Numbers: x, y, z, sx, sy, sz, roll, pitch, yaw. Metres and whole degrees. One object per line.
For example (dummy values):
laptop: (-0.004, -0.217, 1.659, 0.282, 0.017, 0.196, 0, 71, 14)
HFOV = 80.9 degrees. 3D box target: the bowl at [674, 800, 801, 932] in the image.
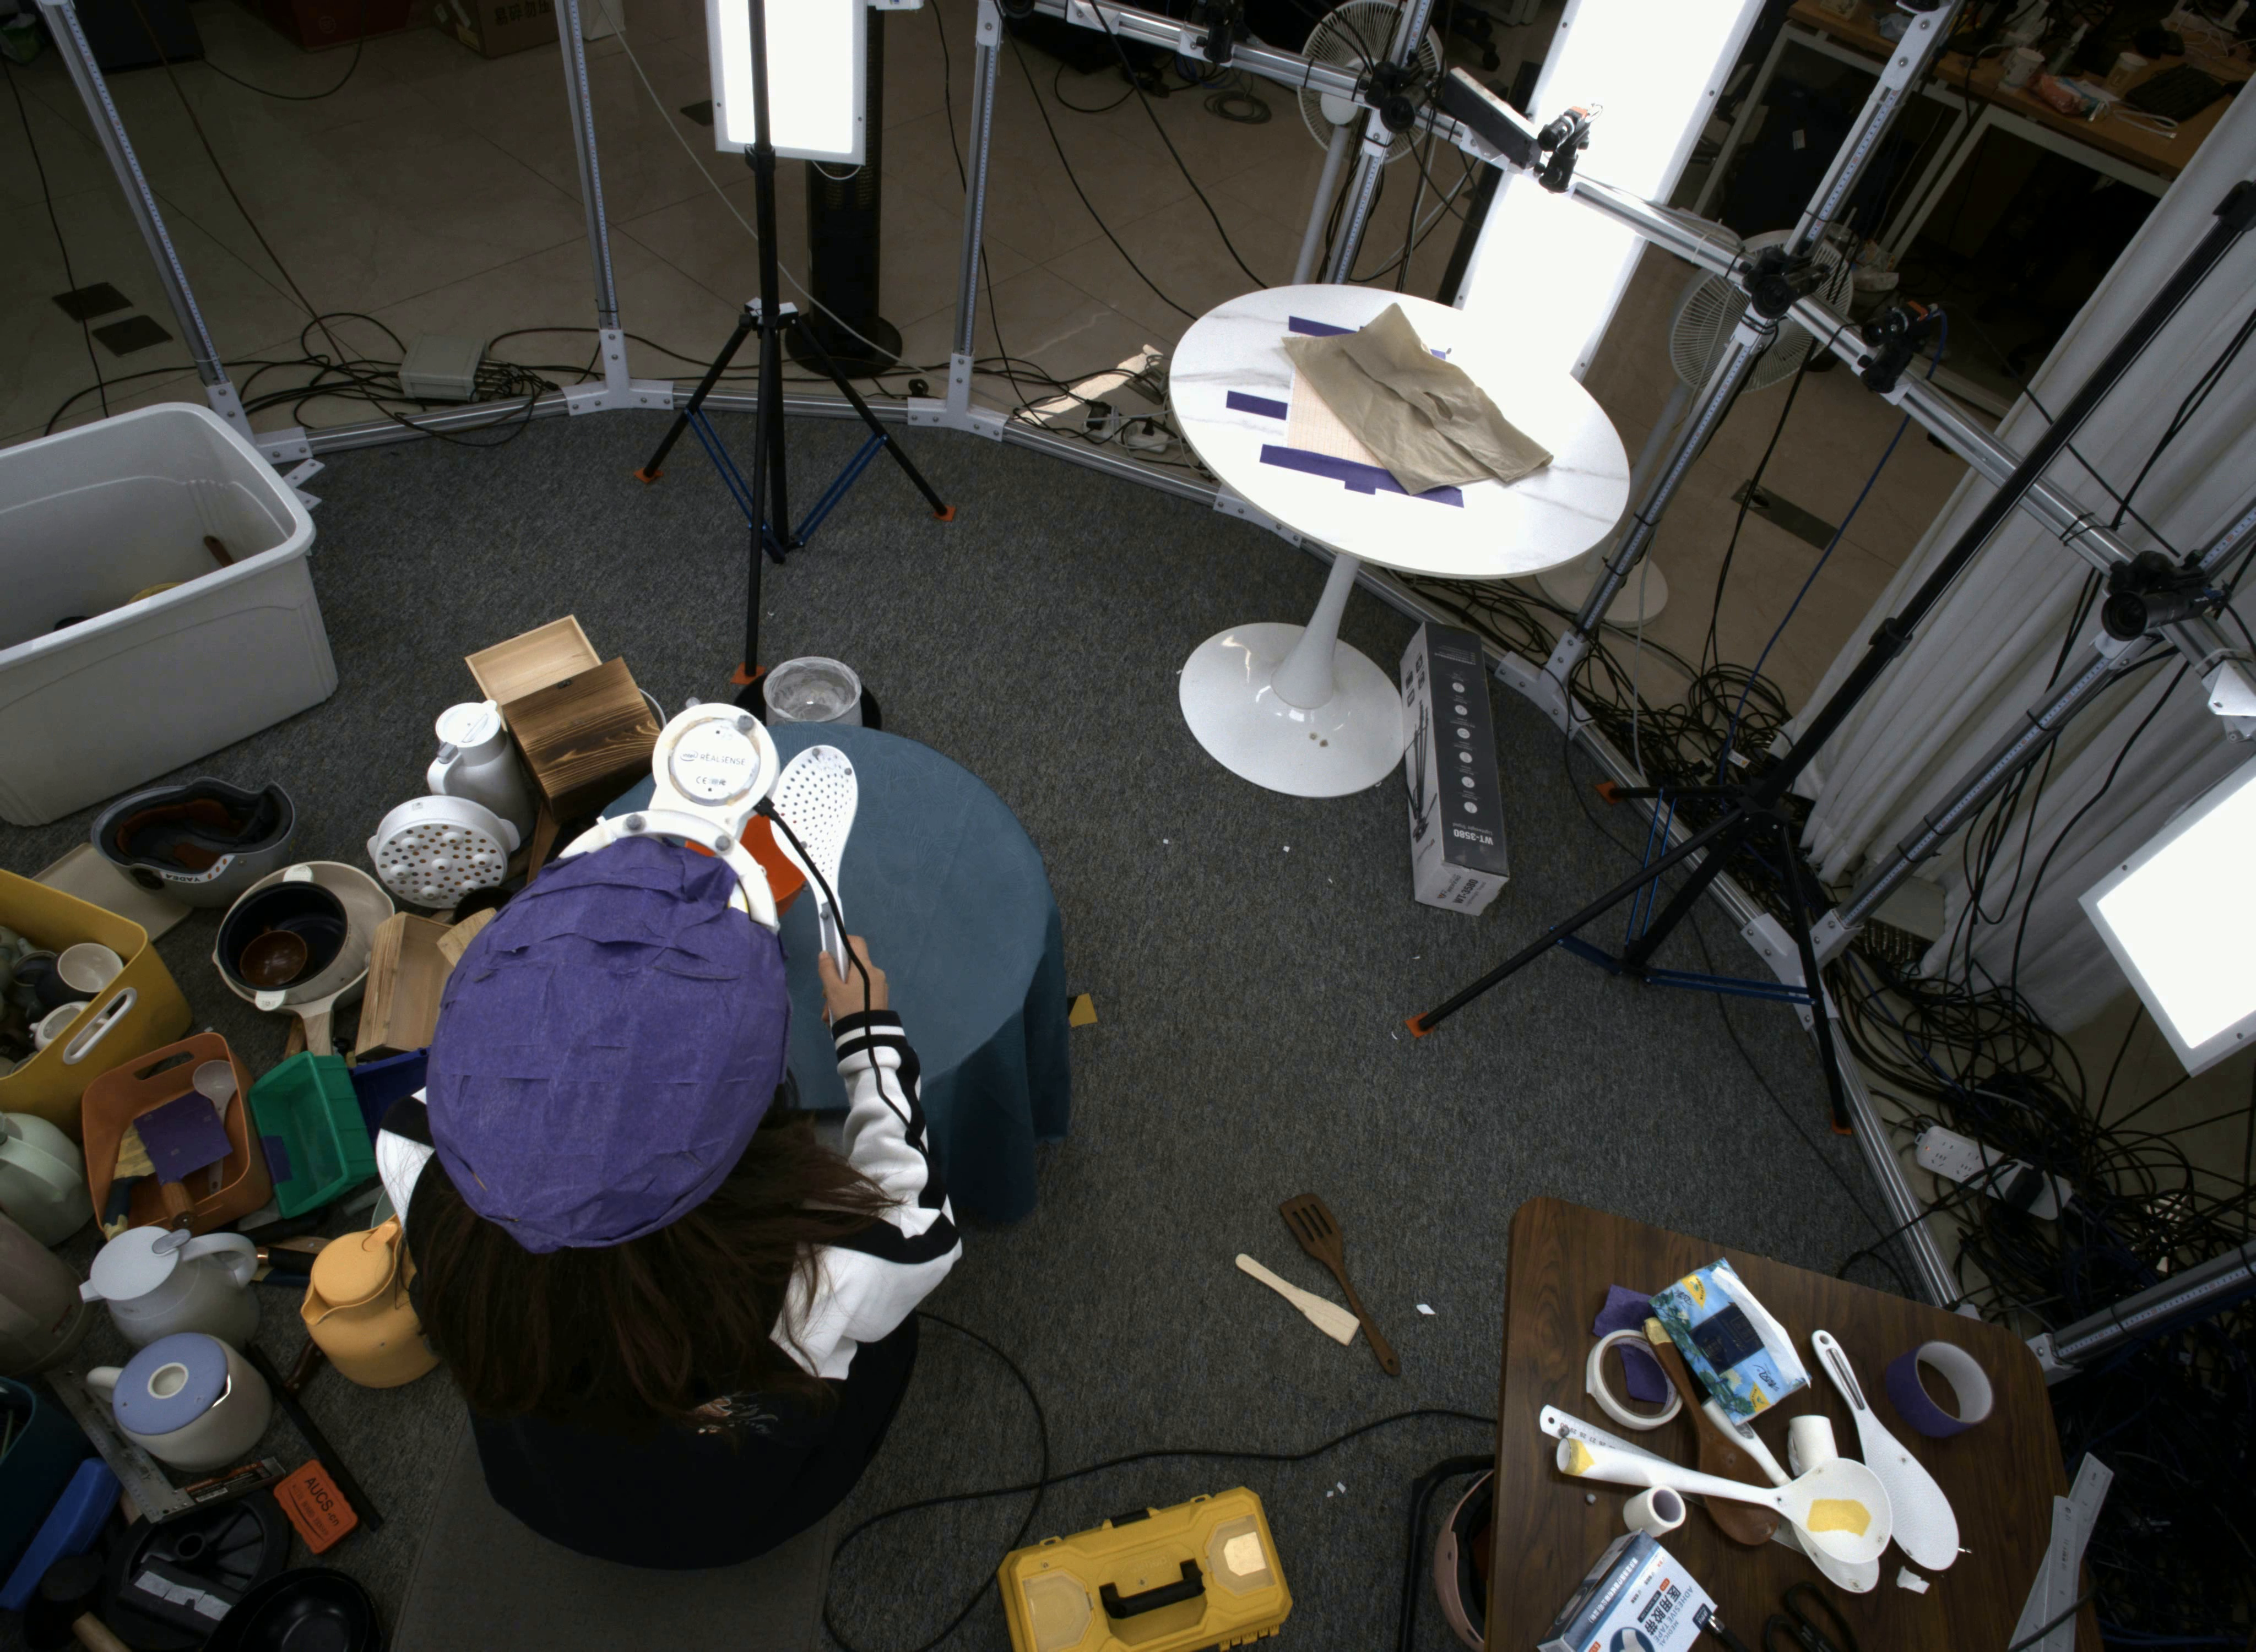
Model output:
bowl: (-0.463, 0.057, 1.543, 0.148, 0.107, 0.145, 9, 47, -8)

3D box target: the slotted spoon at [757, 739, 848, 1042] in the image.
slotted spoon: (-0.349, 0.067, 1.449, 0.047, 0.133, 0.345, 26, 47, -55)
